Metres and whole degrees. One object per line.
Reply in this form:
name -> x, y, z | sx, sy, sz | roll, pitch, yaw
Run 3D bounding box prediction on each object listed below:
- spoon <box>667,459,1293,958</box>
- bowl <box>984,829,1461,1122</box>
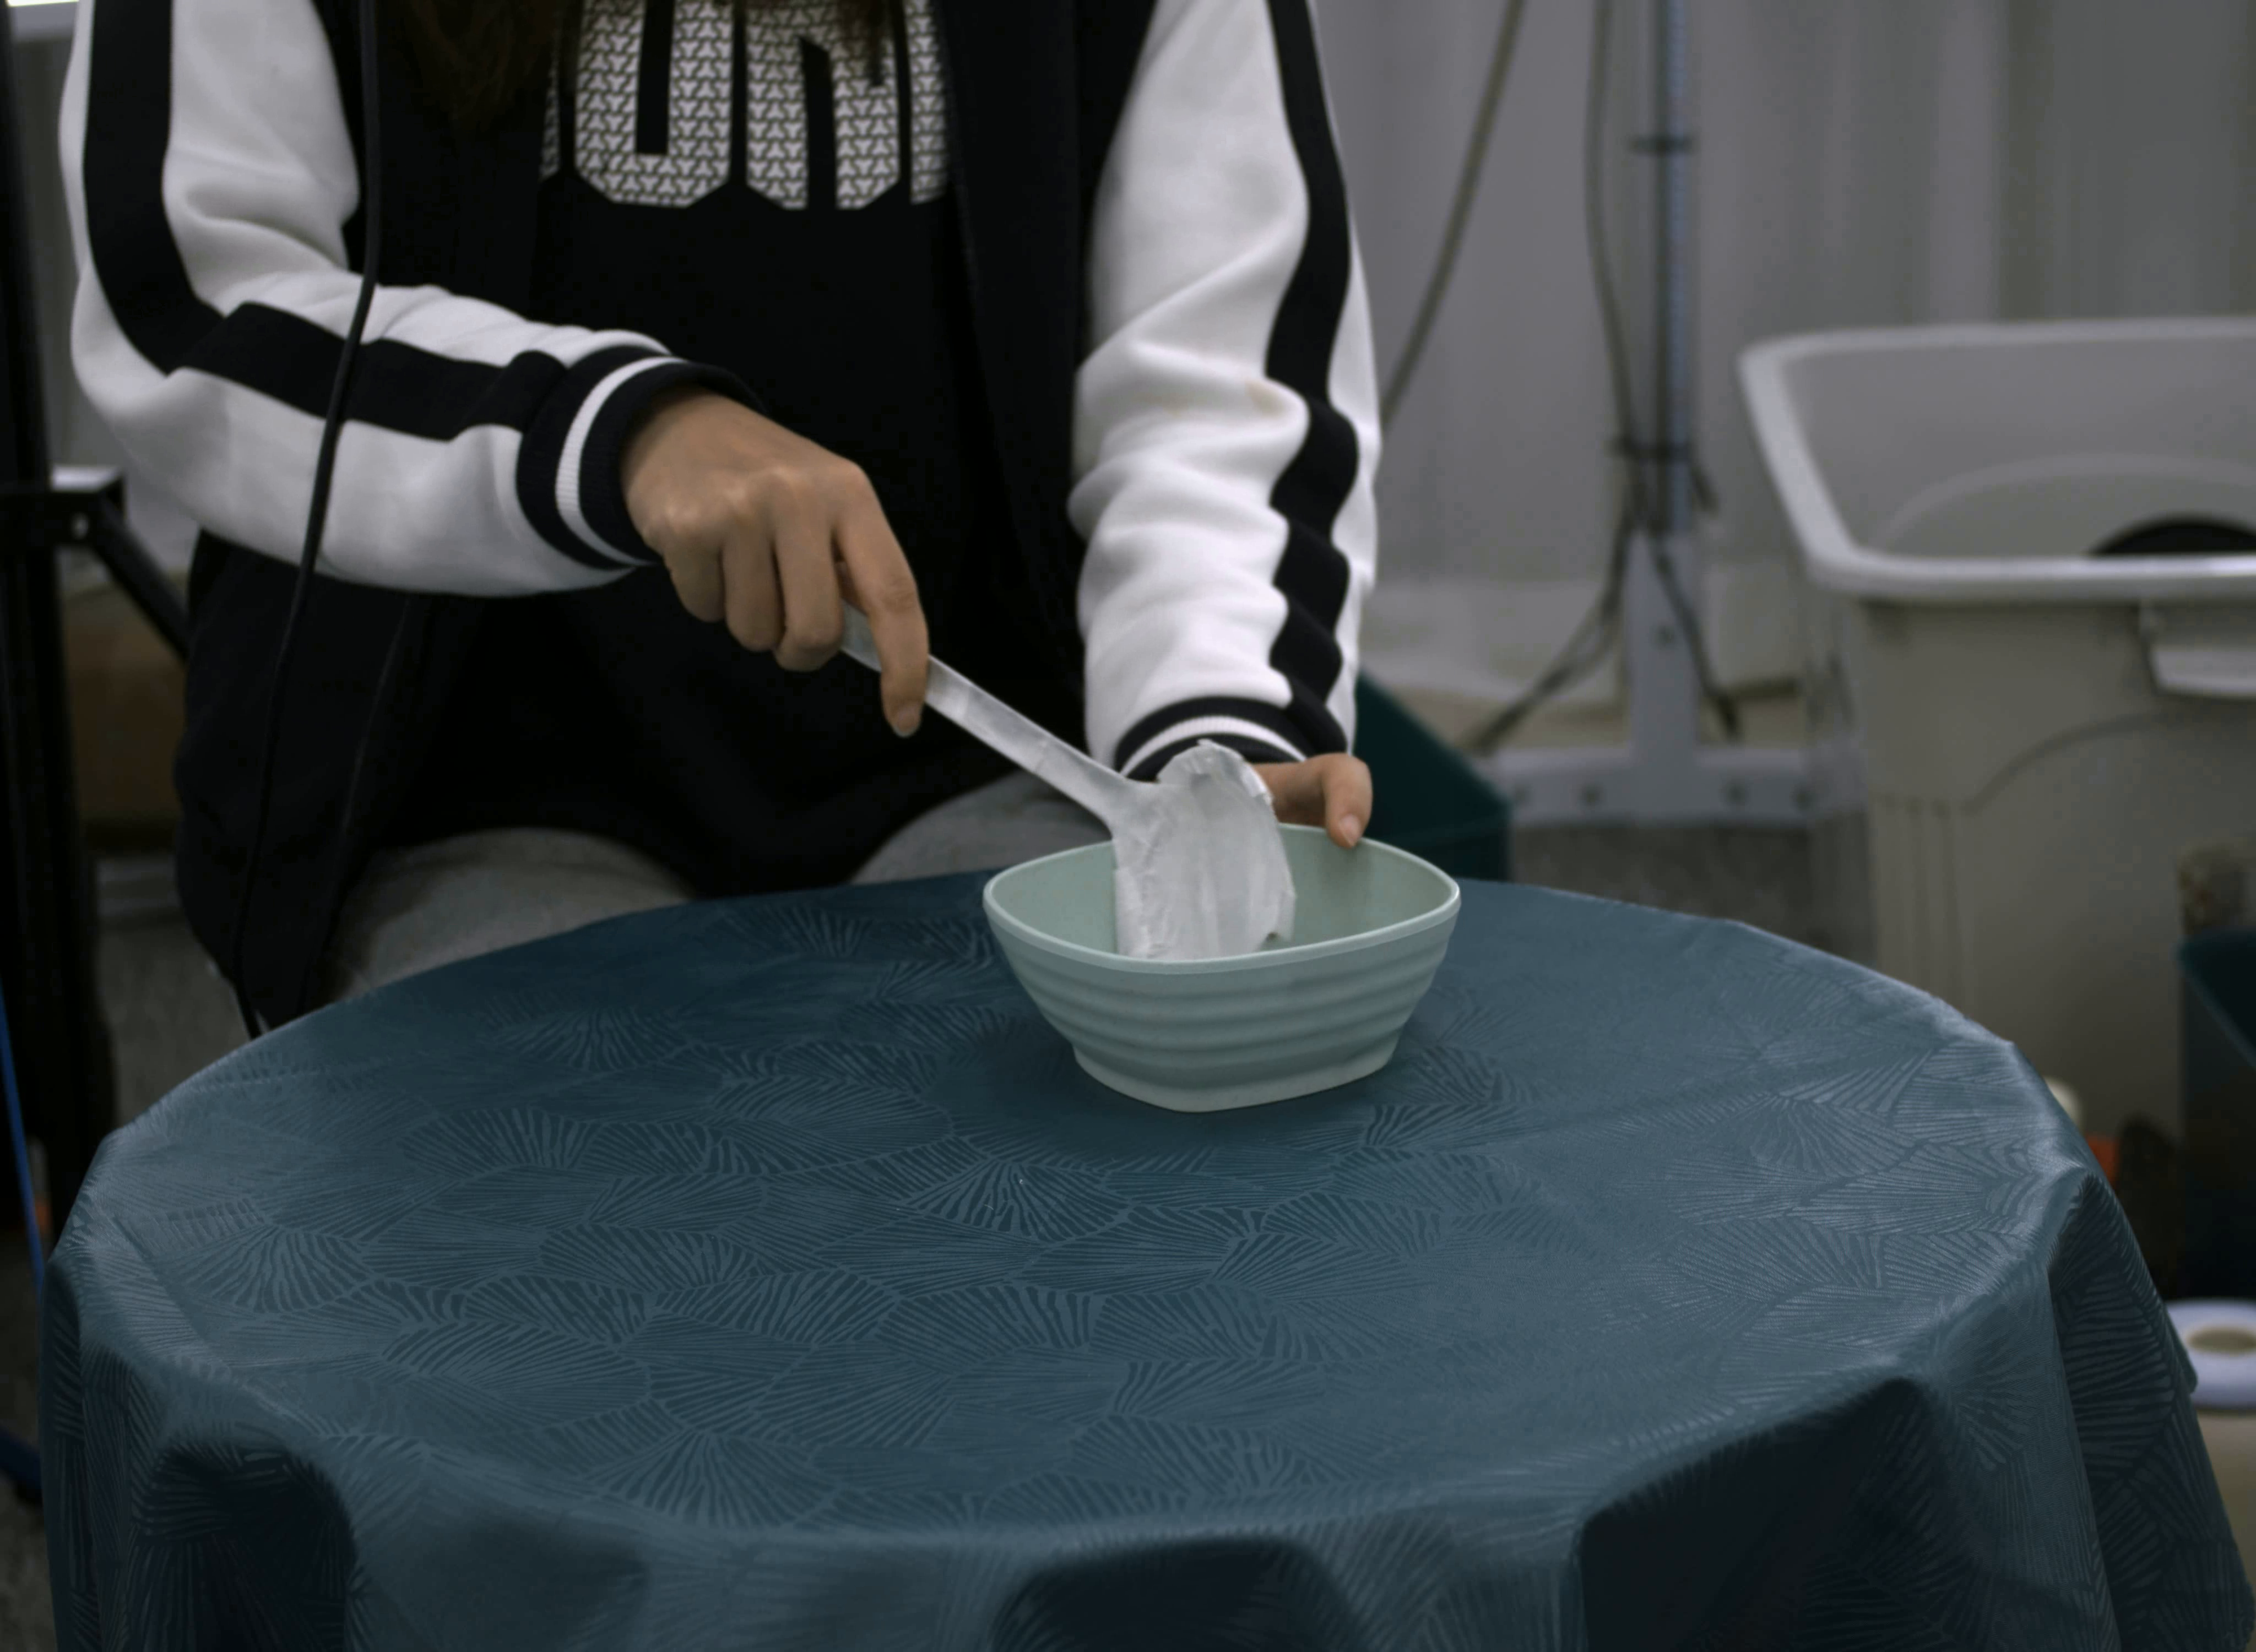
spoon -> -0.053, -0.039, 1.703 | 0.281, 0.101, 0.058 | 36, 22, 18
bowl -> 0.030, 0.049, 1.663 | 0.151, 0.058, 0.152 | -3, 16, -1
